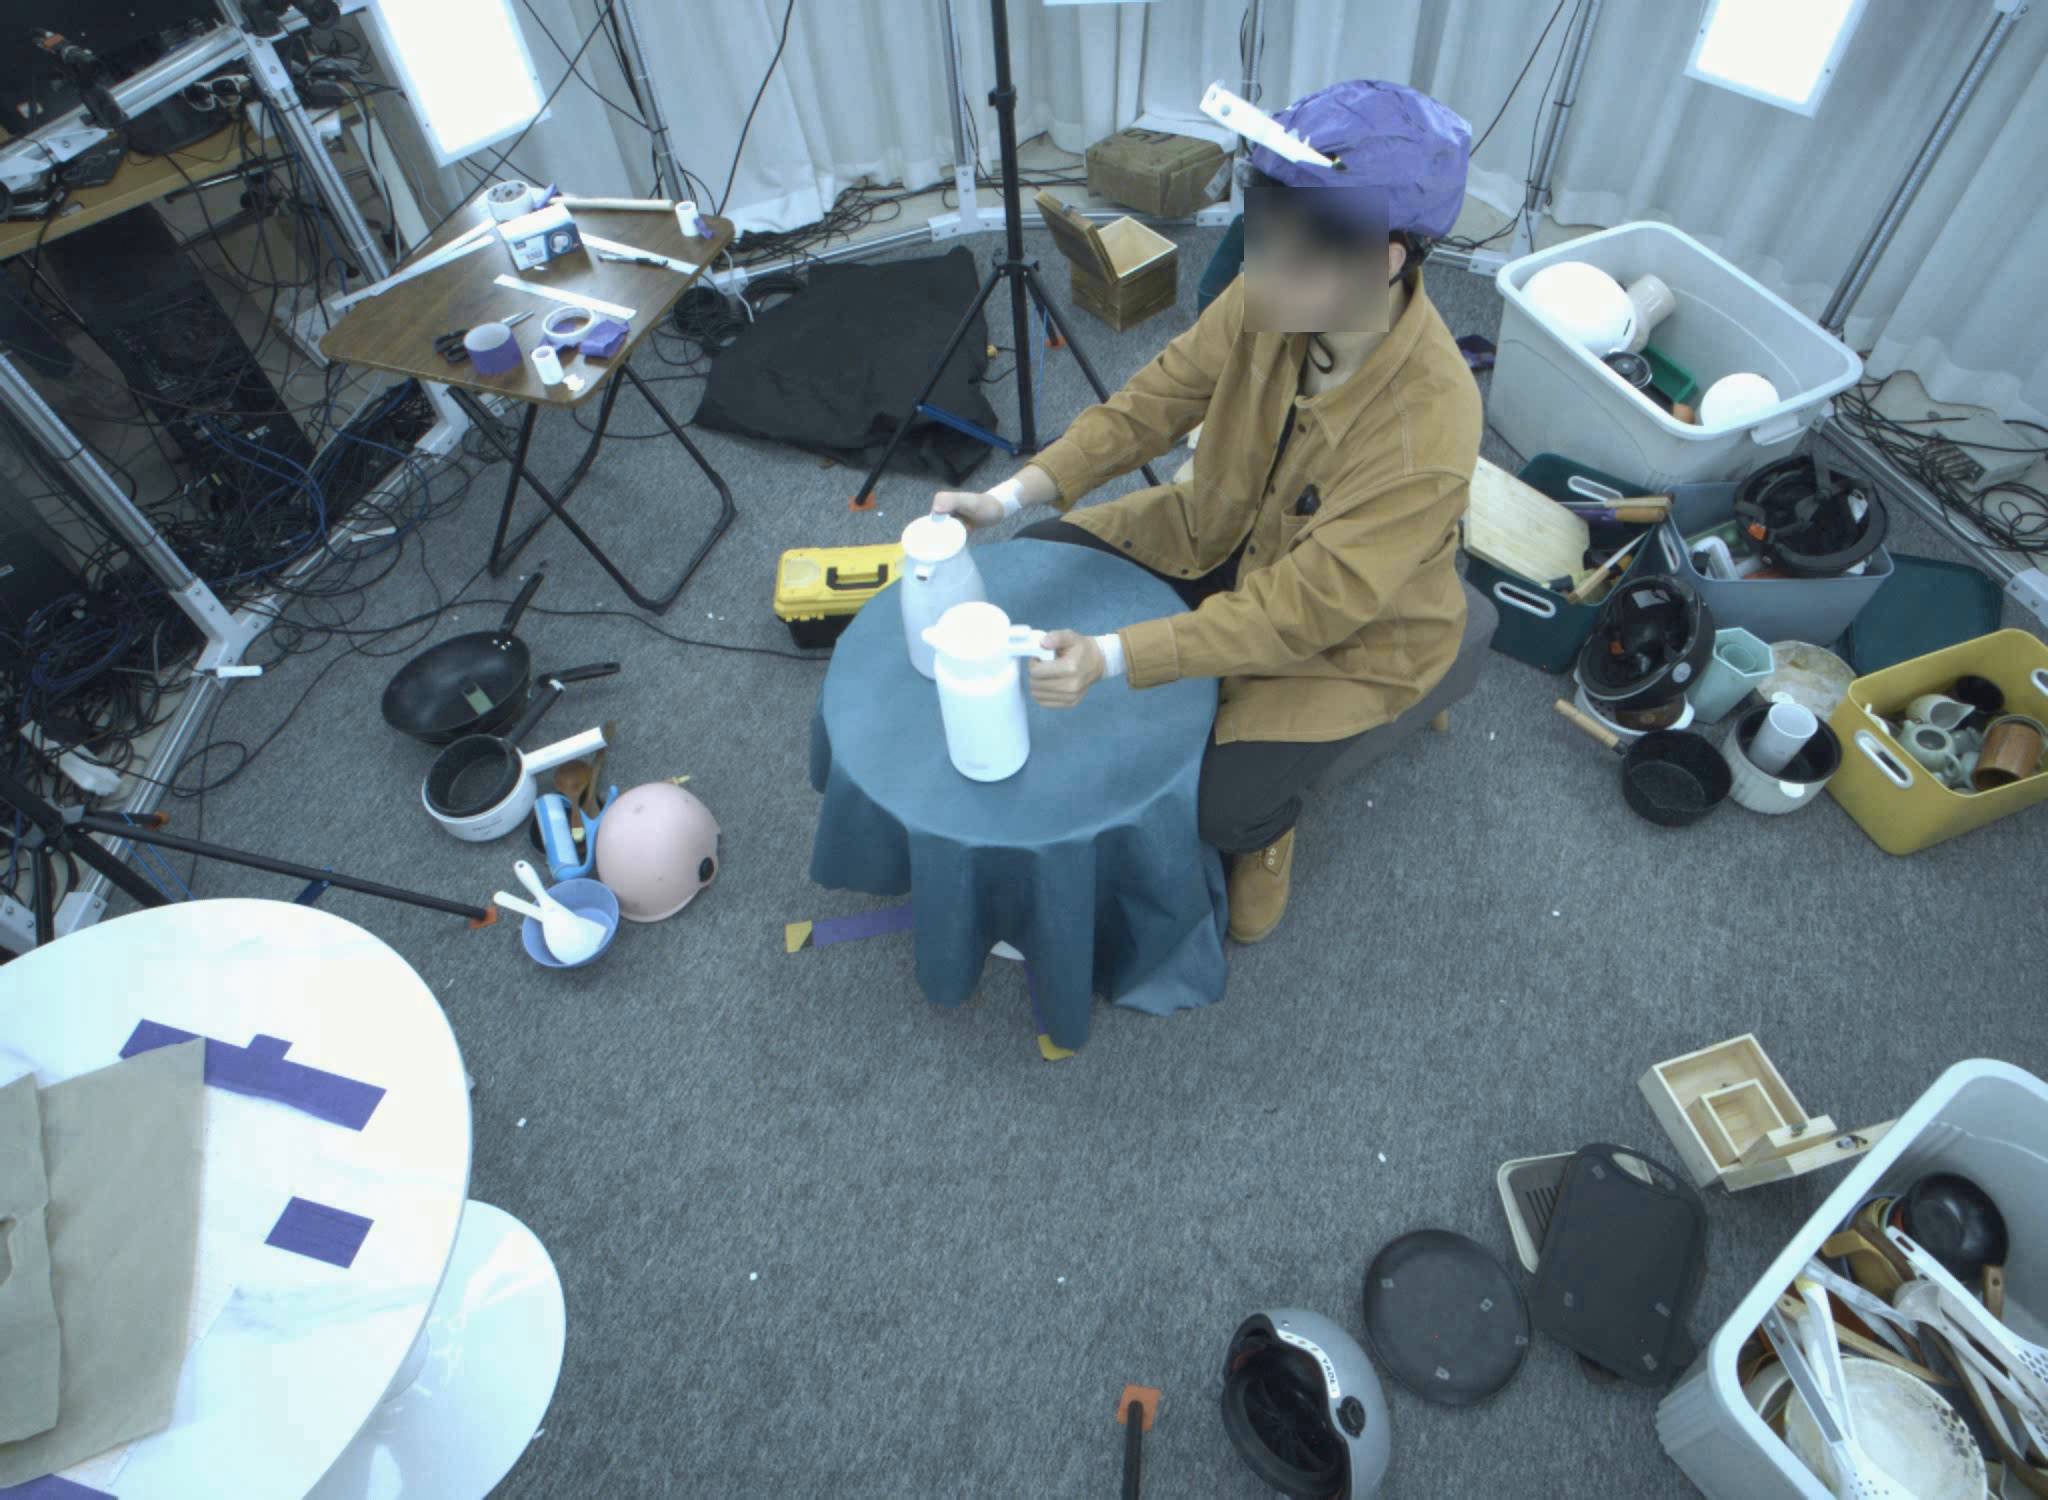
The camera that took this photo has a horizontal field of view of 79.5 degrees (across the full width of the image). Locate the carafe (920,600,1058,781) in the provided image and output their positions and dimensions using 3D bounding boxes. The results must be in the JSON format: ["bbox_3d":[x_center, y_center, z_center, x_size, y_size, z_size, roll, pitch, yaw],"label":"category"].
[{"bbox_3d":[-0.041,-0.078,1.675,0.172,0.272,0.122,-1,52,3],"label":"carafe"}]

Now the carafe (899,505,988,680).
[{"bbox_3d":[-0.117,-0.244,1.808,0.131,0.251,0.167,10,55,10],"label":"carafe"}]
